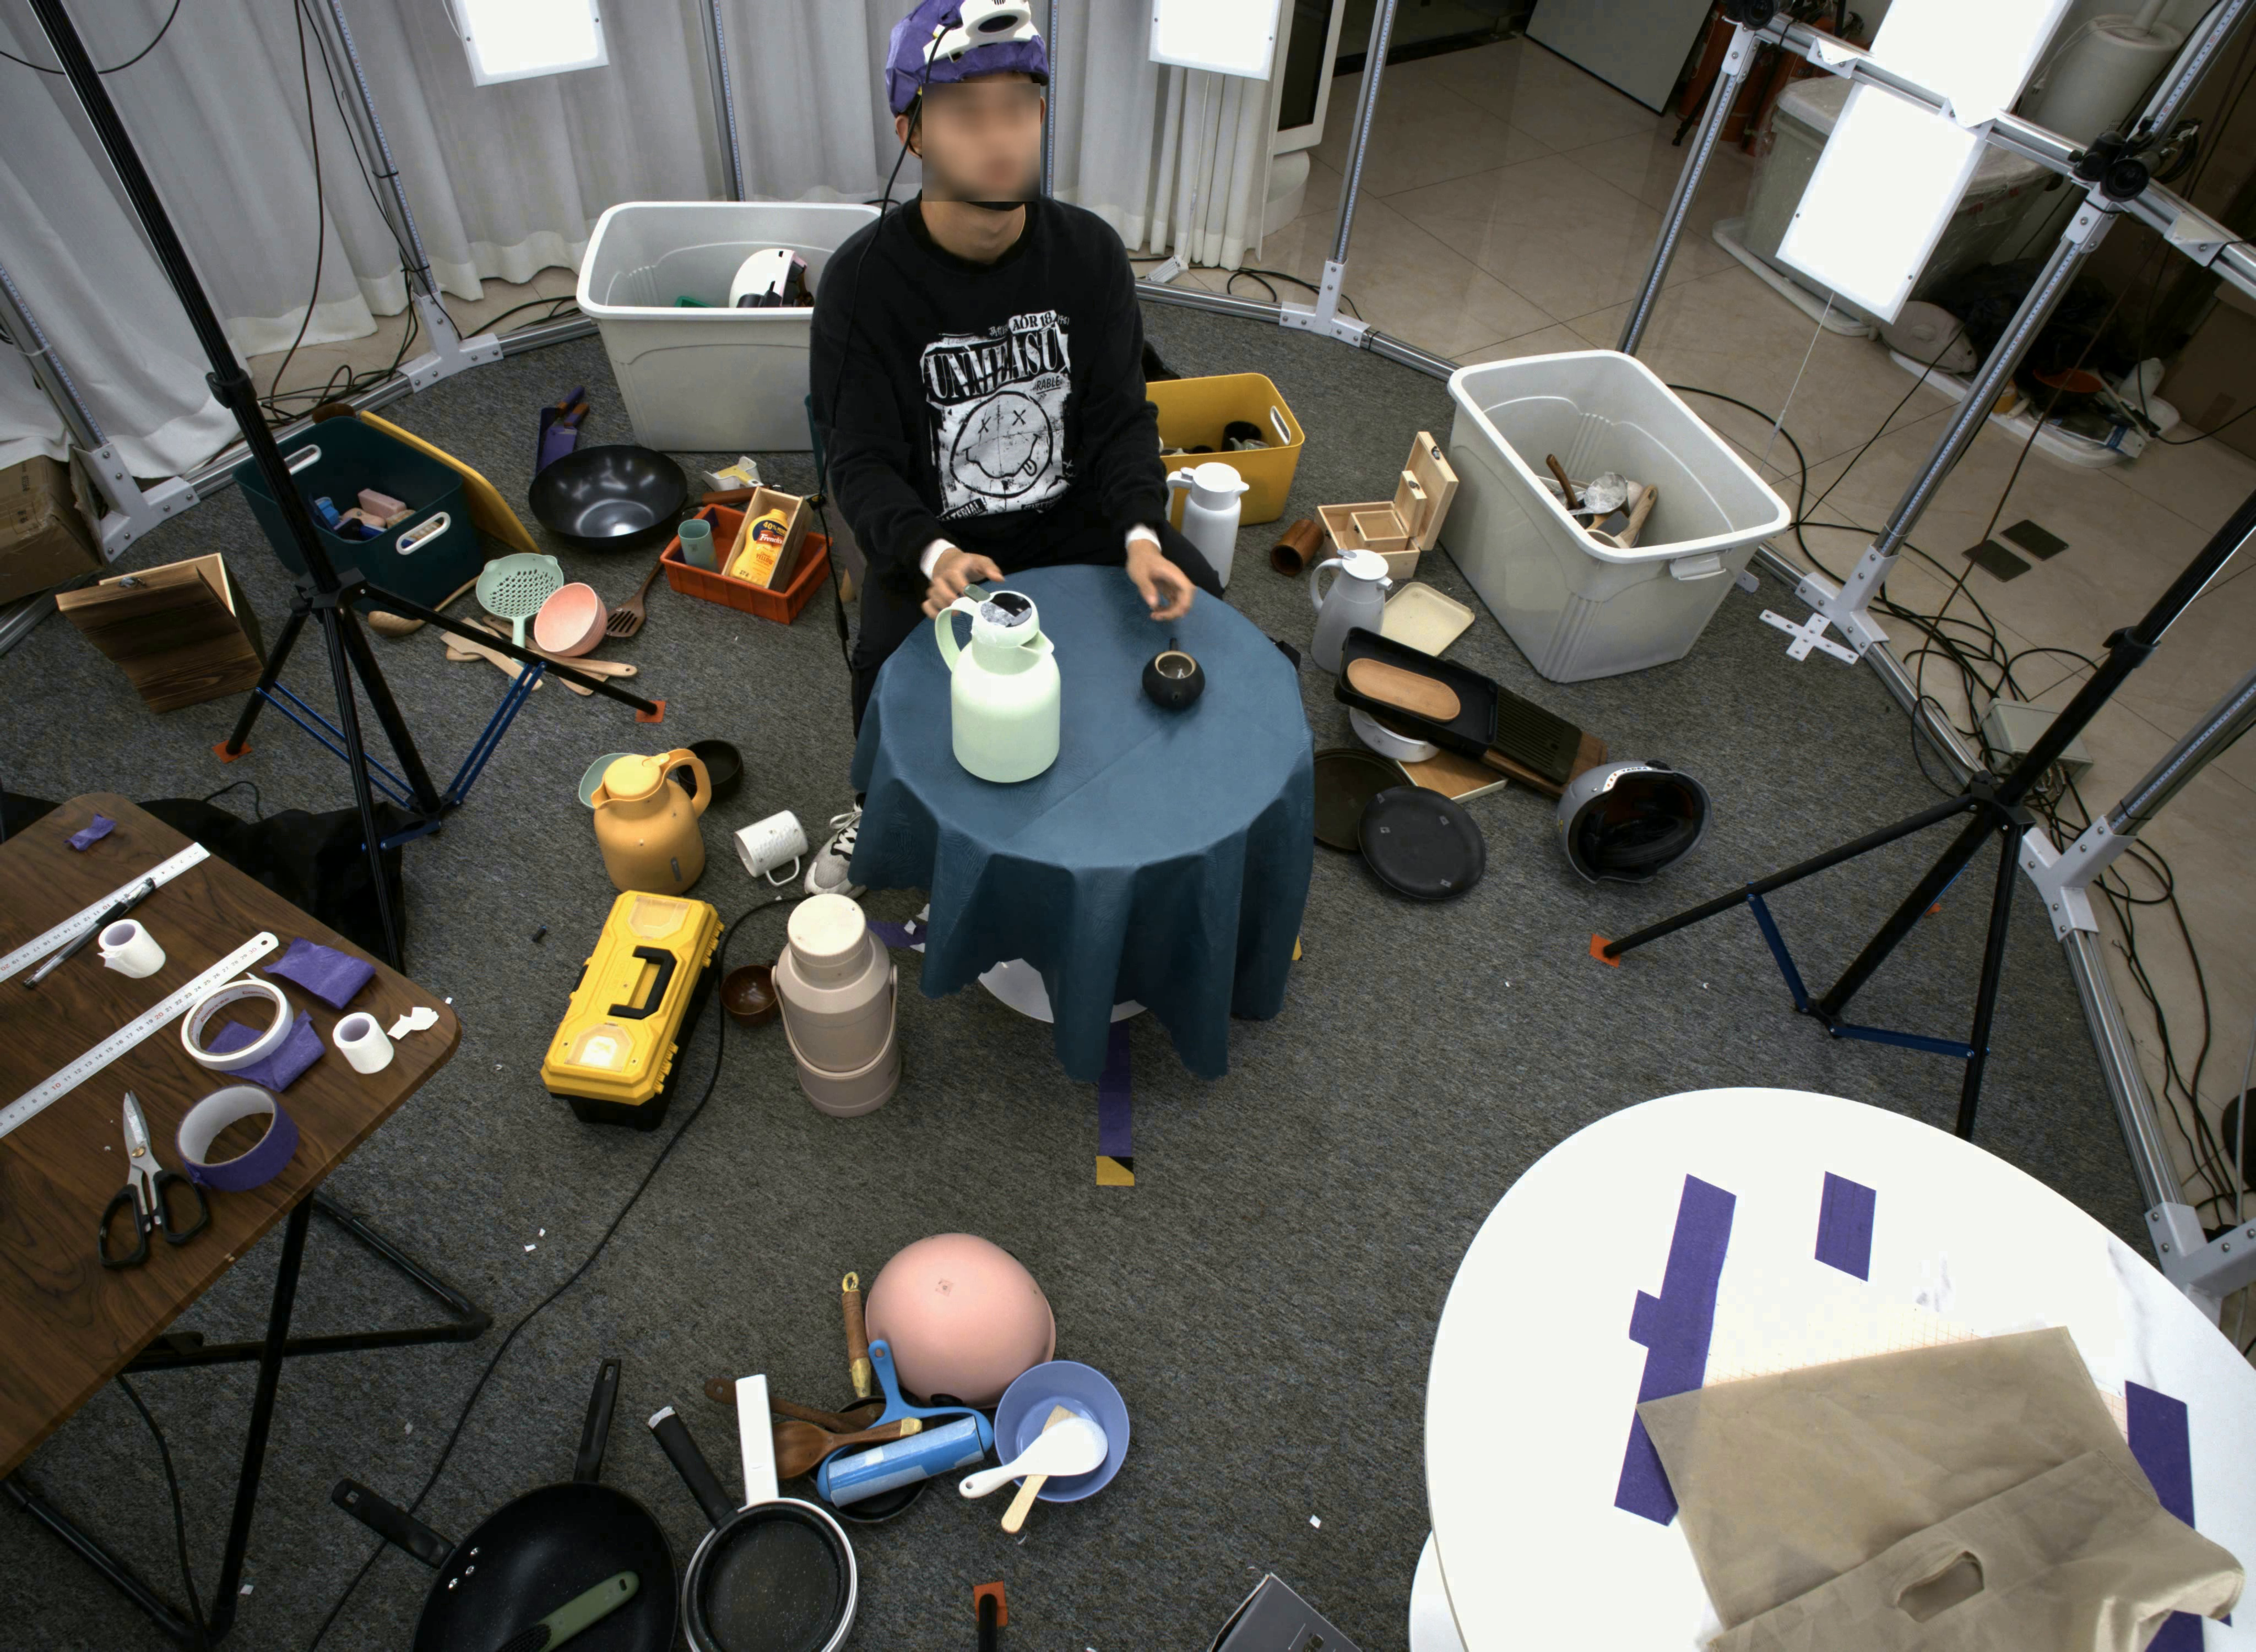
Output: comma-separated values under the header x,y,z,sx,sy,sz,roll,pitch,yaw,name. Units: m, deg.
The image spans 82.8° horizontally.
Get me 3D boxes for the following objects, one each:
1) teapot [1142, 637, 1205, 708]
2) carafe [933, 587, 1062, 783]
x,y,z,sx,sy,sz,roll,pitch,yaw,name
0.065,-0.211,1.822,0.091,0.052,0.136,4,50,-3,teapot
-0.170,-0.190,1.663,0.189,0.250,0.146,30,55,24,carafe
